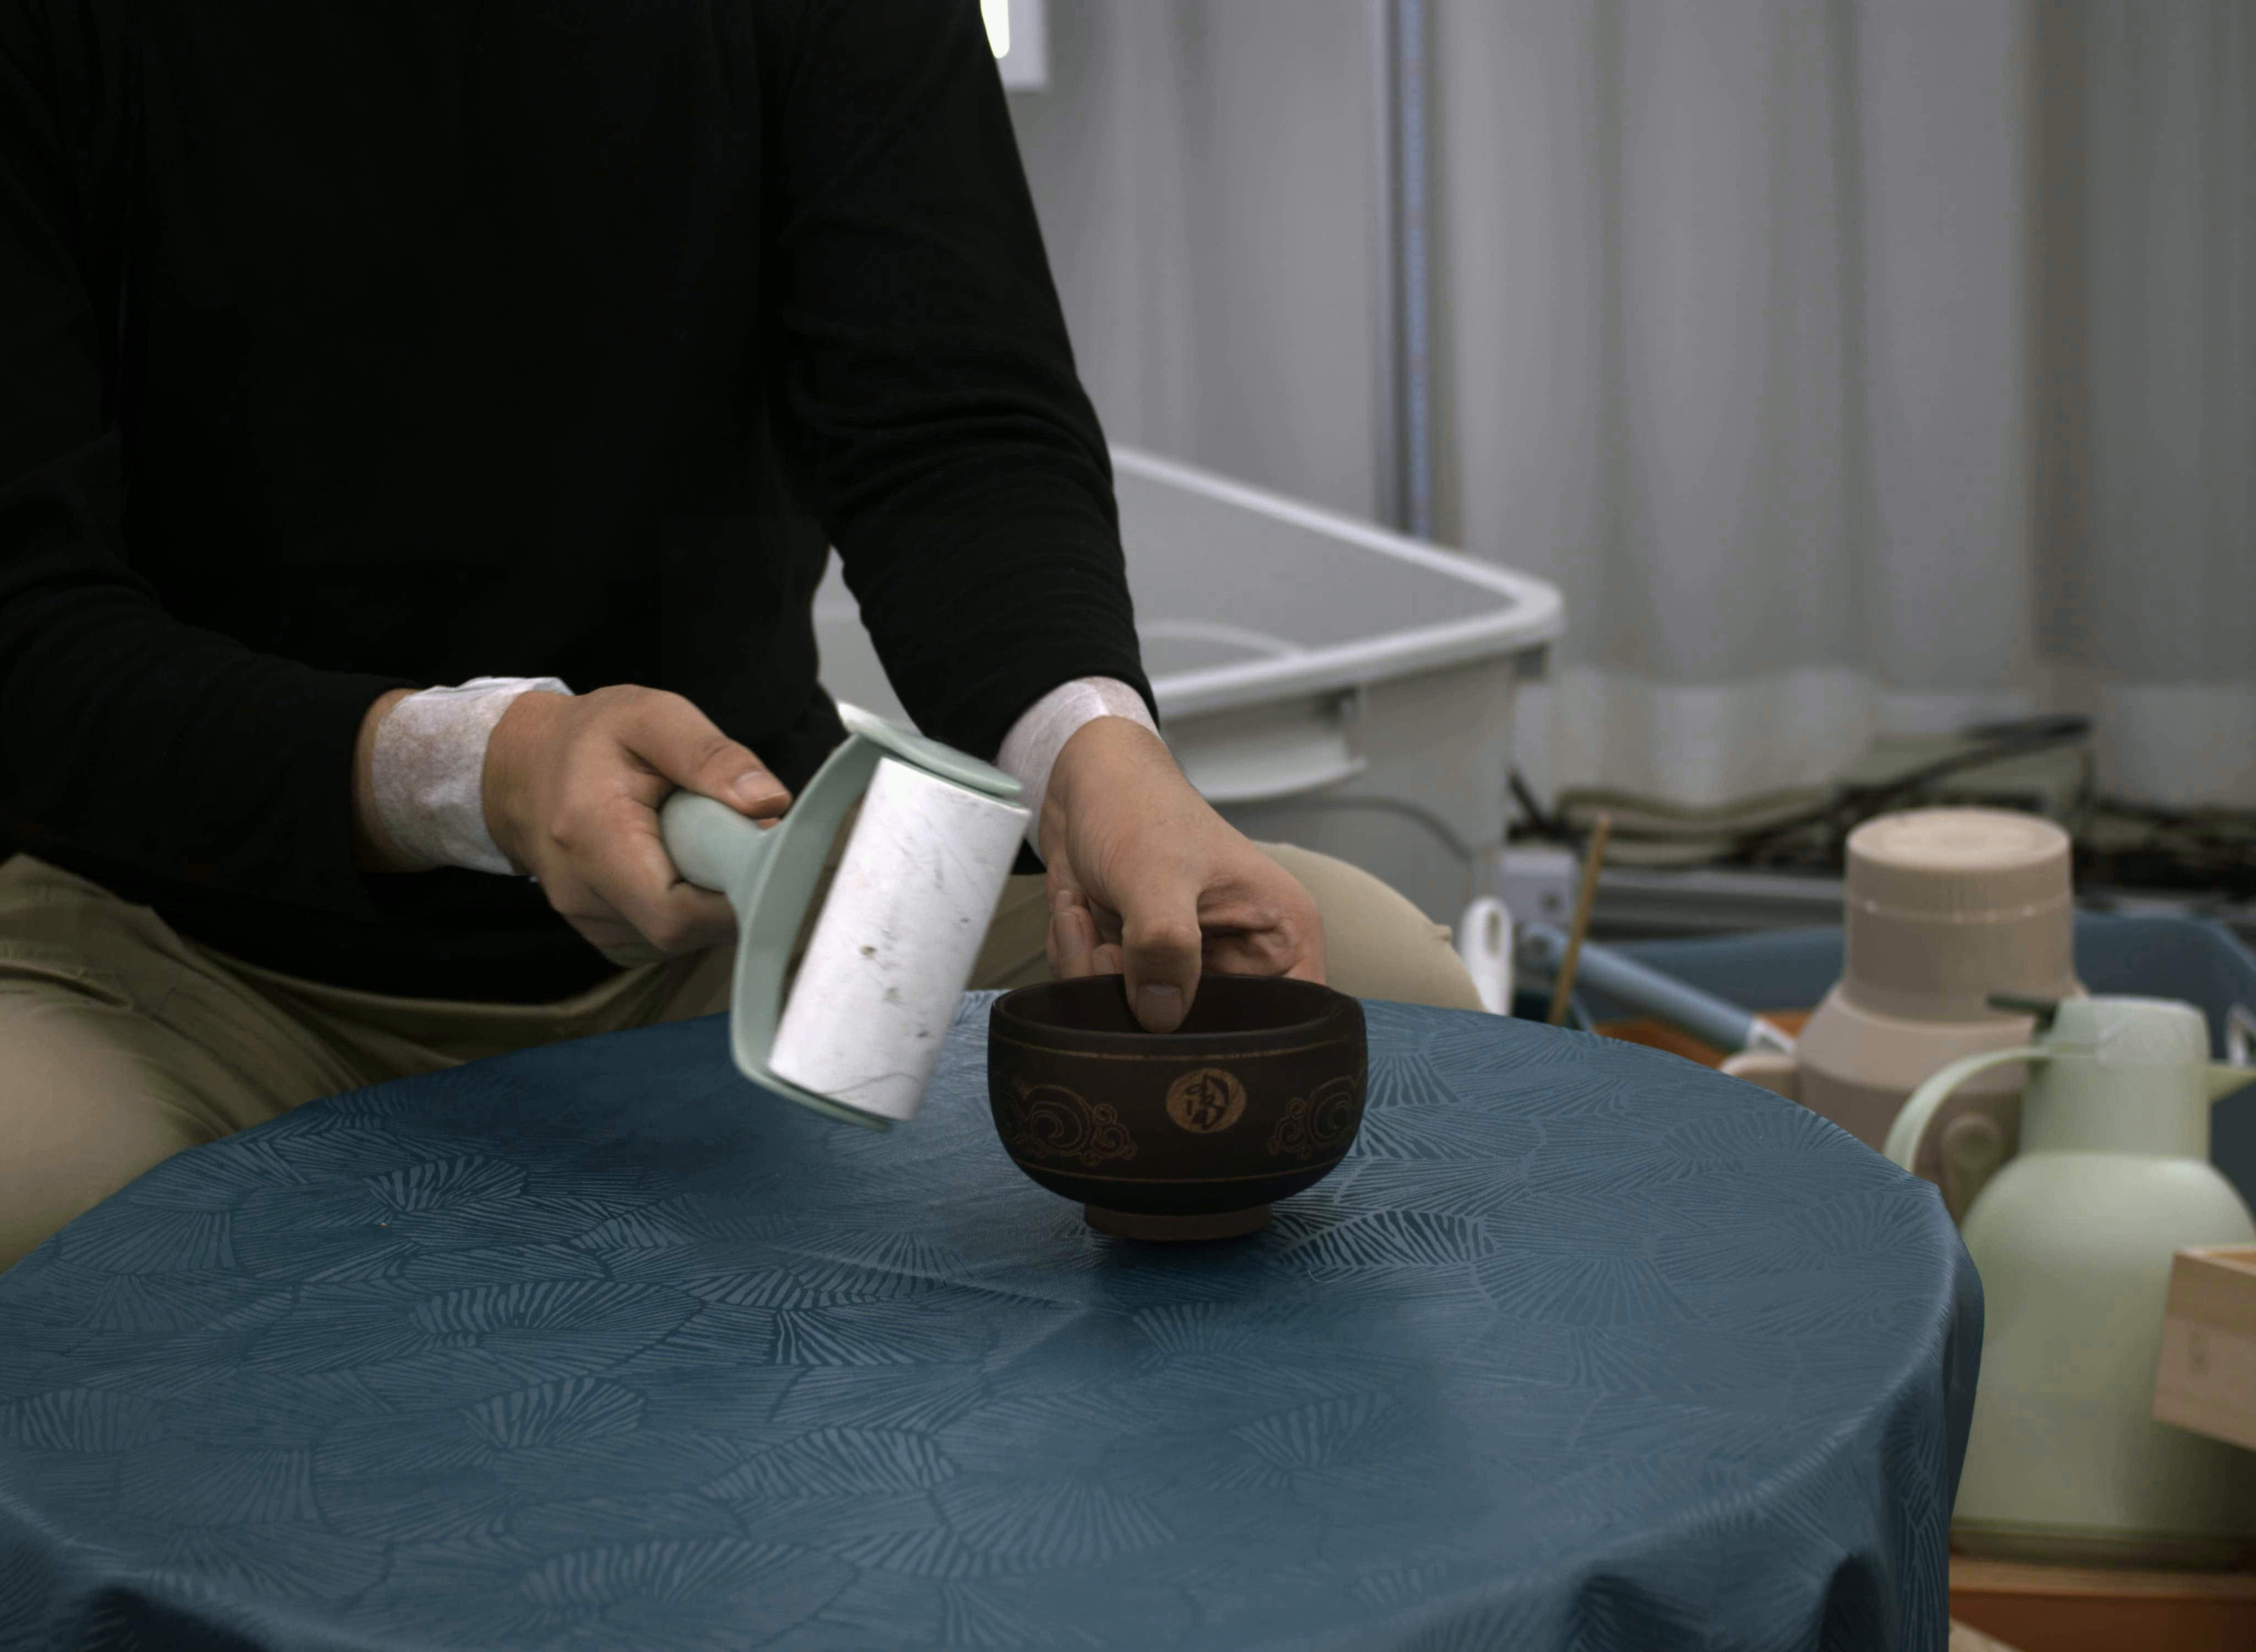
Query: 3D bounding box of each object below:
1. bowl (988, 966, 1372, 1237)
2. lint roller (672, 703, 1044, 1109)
[{"bbox_3d":[0.016,0.086,1.668,0.117,0.070,0.118,-1,7,0],"label":"bowl"},{"bbox_3d":[-0.101,0.009,1.685,0.048,0.117,0.199,18,3,-35],"label":"lint roller"}]
